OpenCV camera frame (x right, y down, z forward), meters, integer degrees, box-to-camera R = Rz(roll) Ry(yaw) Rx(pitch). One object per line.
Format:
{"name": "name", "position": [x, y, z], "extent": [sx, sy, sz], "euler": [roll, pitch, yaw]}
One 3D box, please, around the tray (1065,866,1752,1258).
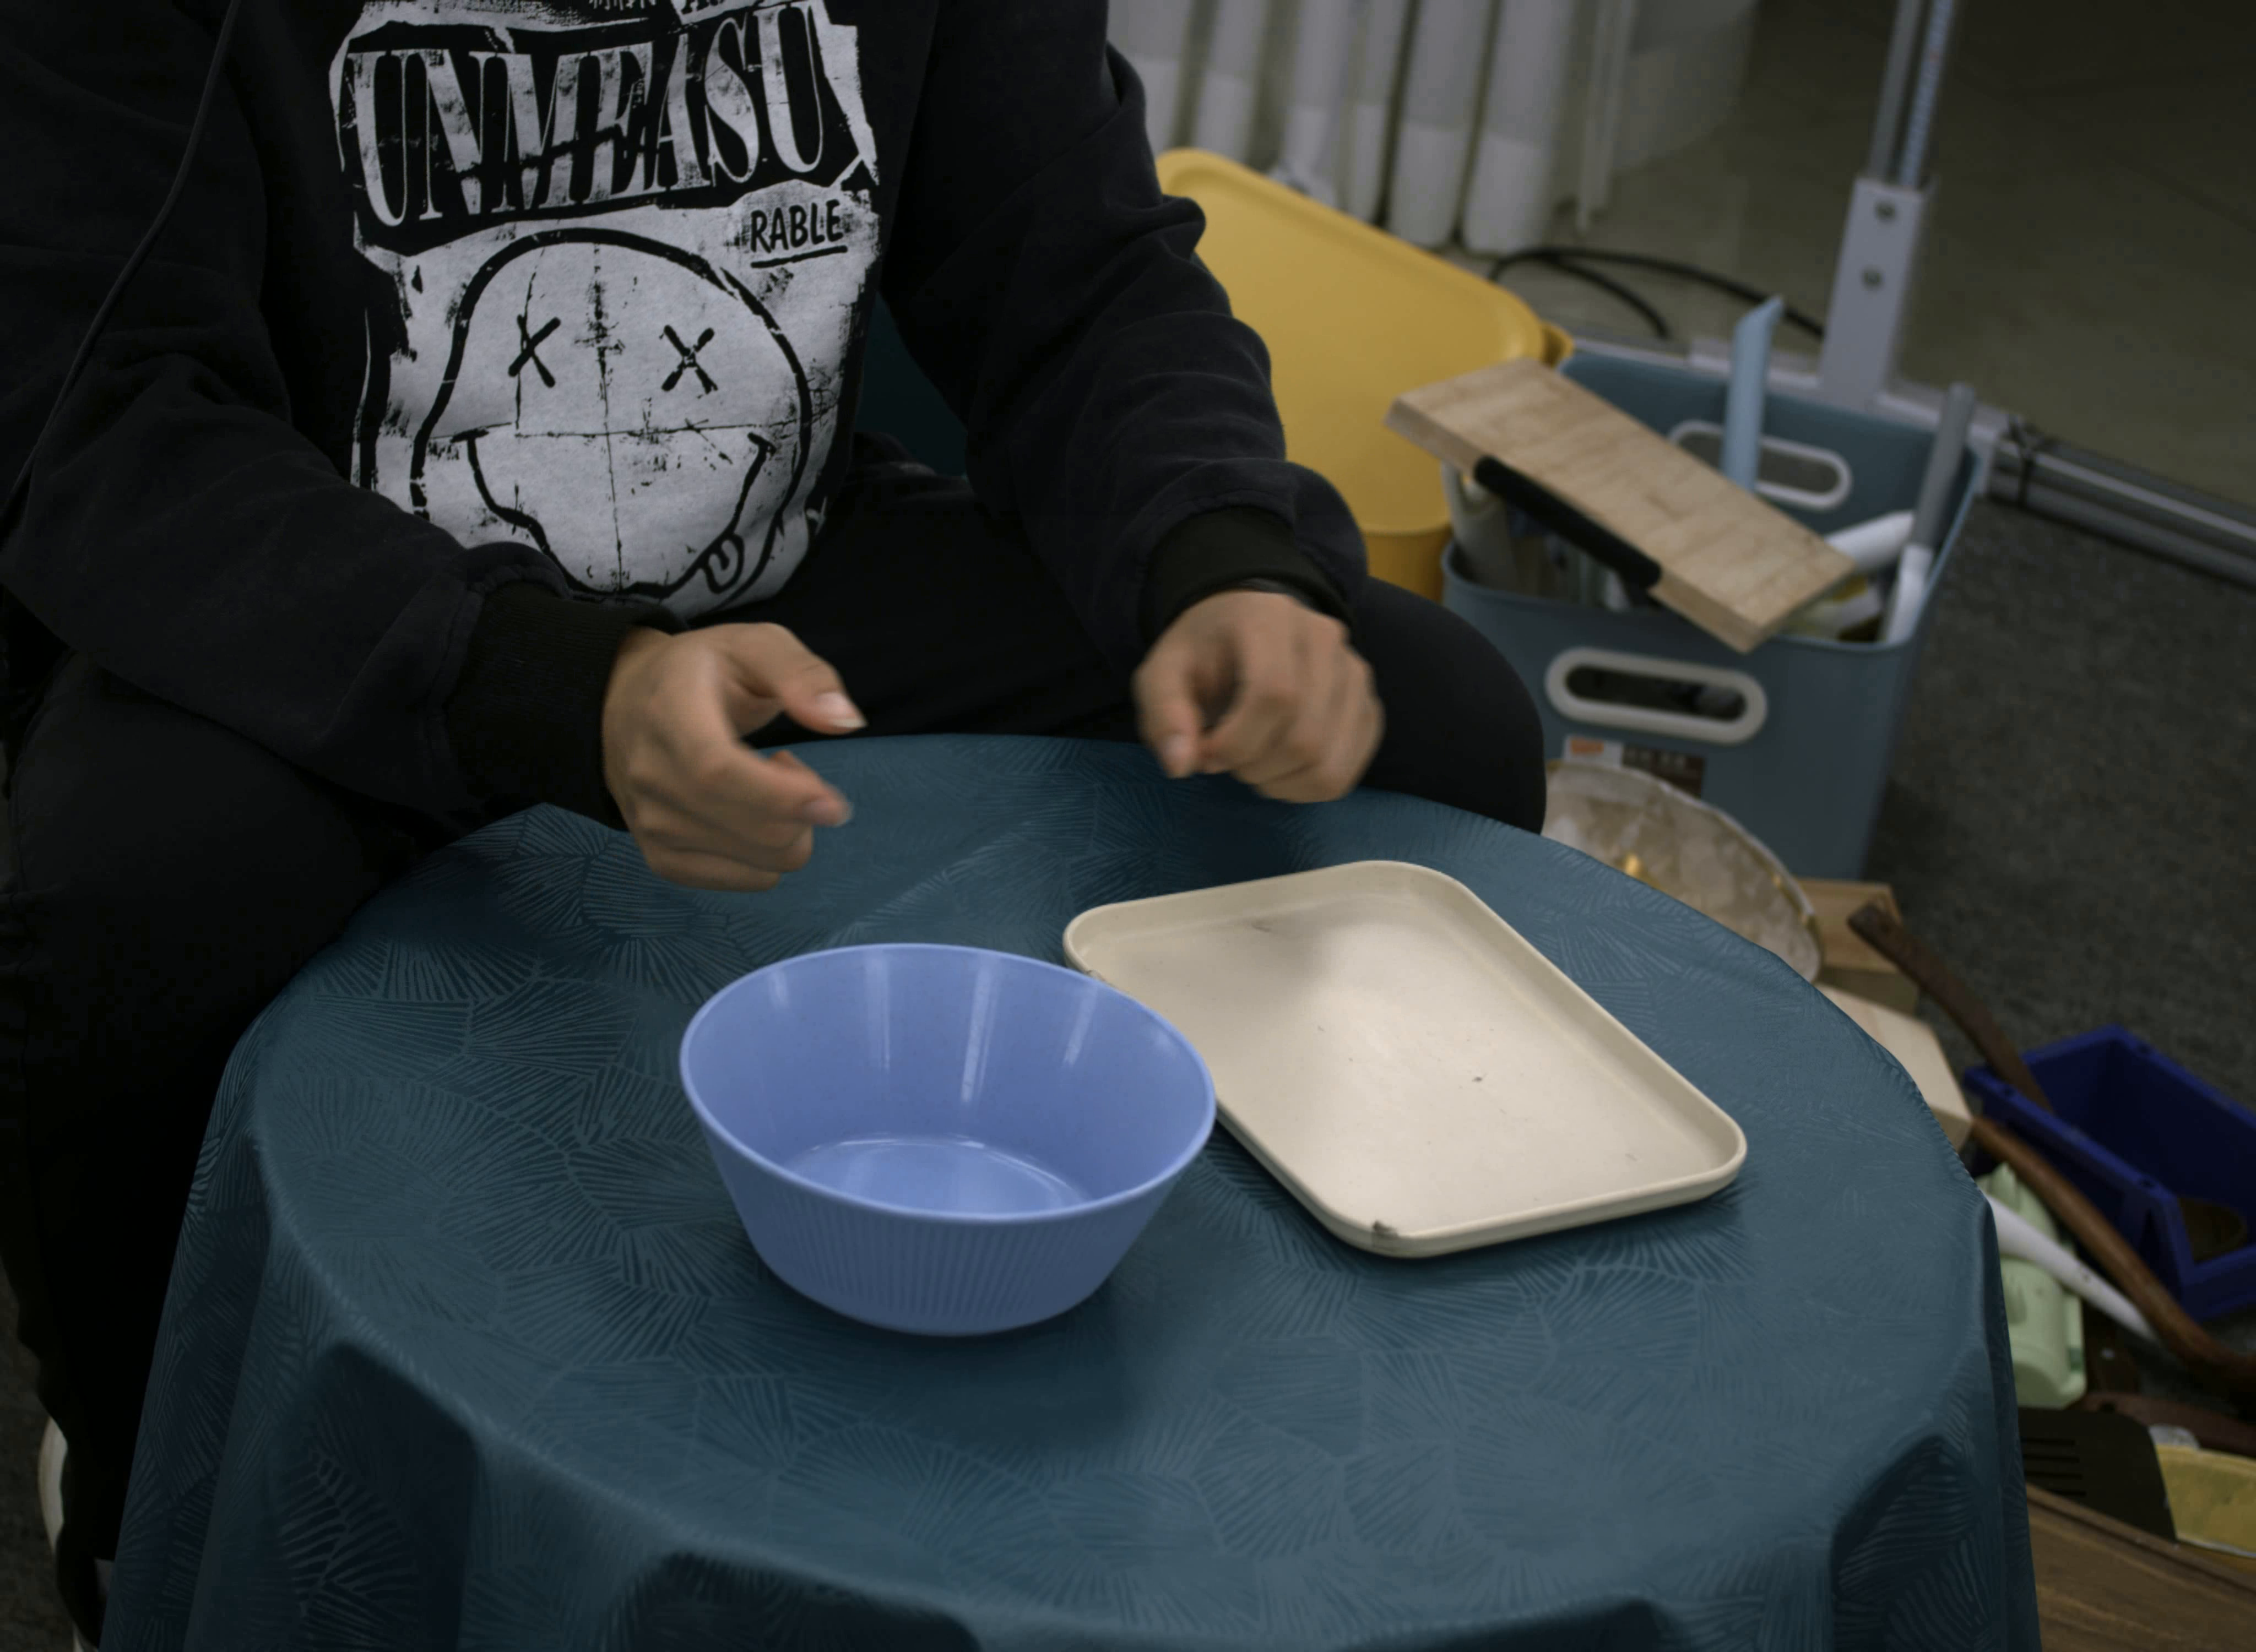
{"name": "tray", "position": [0.096, 0.082, 1.885], "extent": [0.170, 0.017, 0.242], "euler": [-8, 30, -28]}

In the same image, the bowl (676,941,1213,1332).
{"name": "bowl", "position": [-0.063, 0.108, 1.739], "extent": [0.175, 0.070, 0.177], "euler": [6, 27, -3]}
